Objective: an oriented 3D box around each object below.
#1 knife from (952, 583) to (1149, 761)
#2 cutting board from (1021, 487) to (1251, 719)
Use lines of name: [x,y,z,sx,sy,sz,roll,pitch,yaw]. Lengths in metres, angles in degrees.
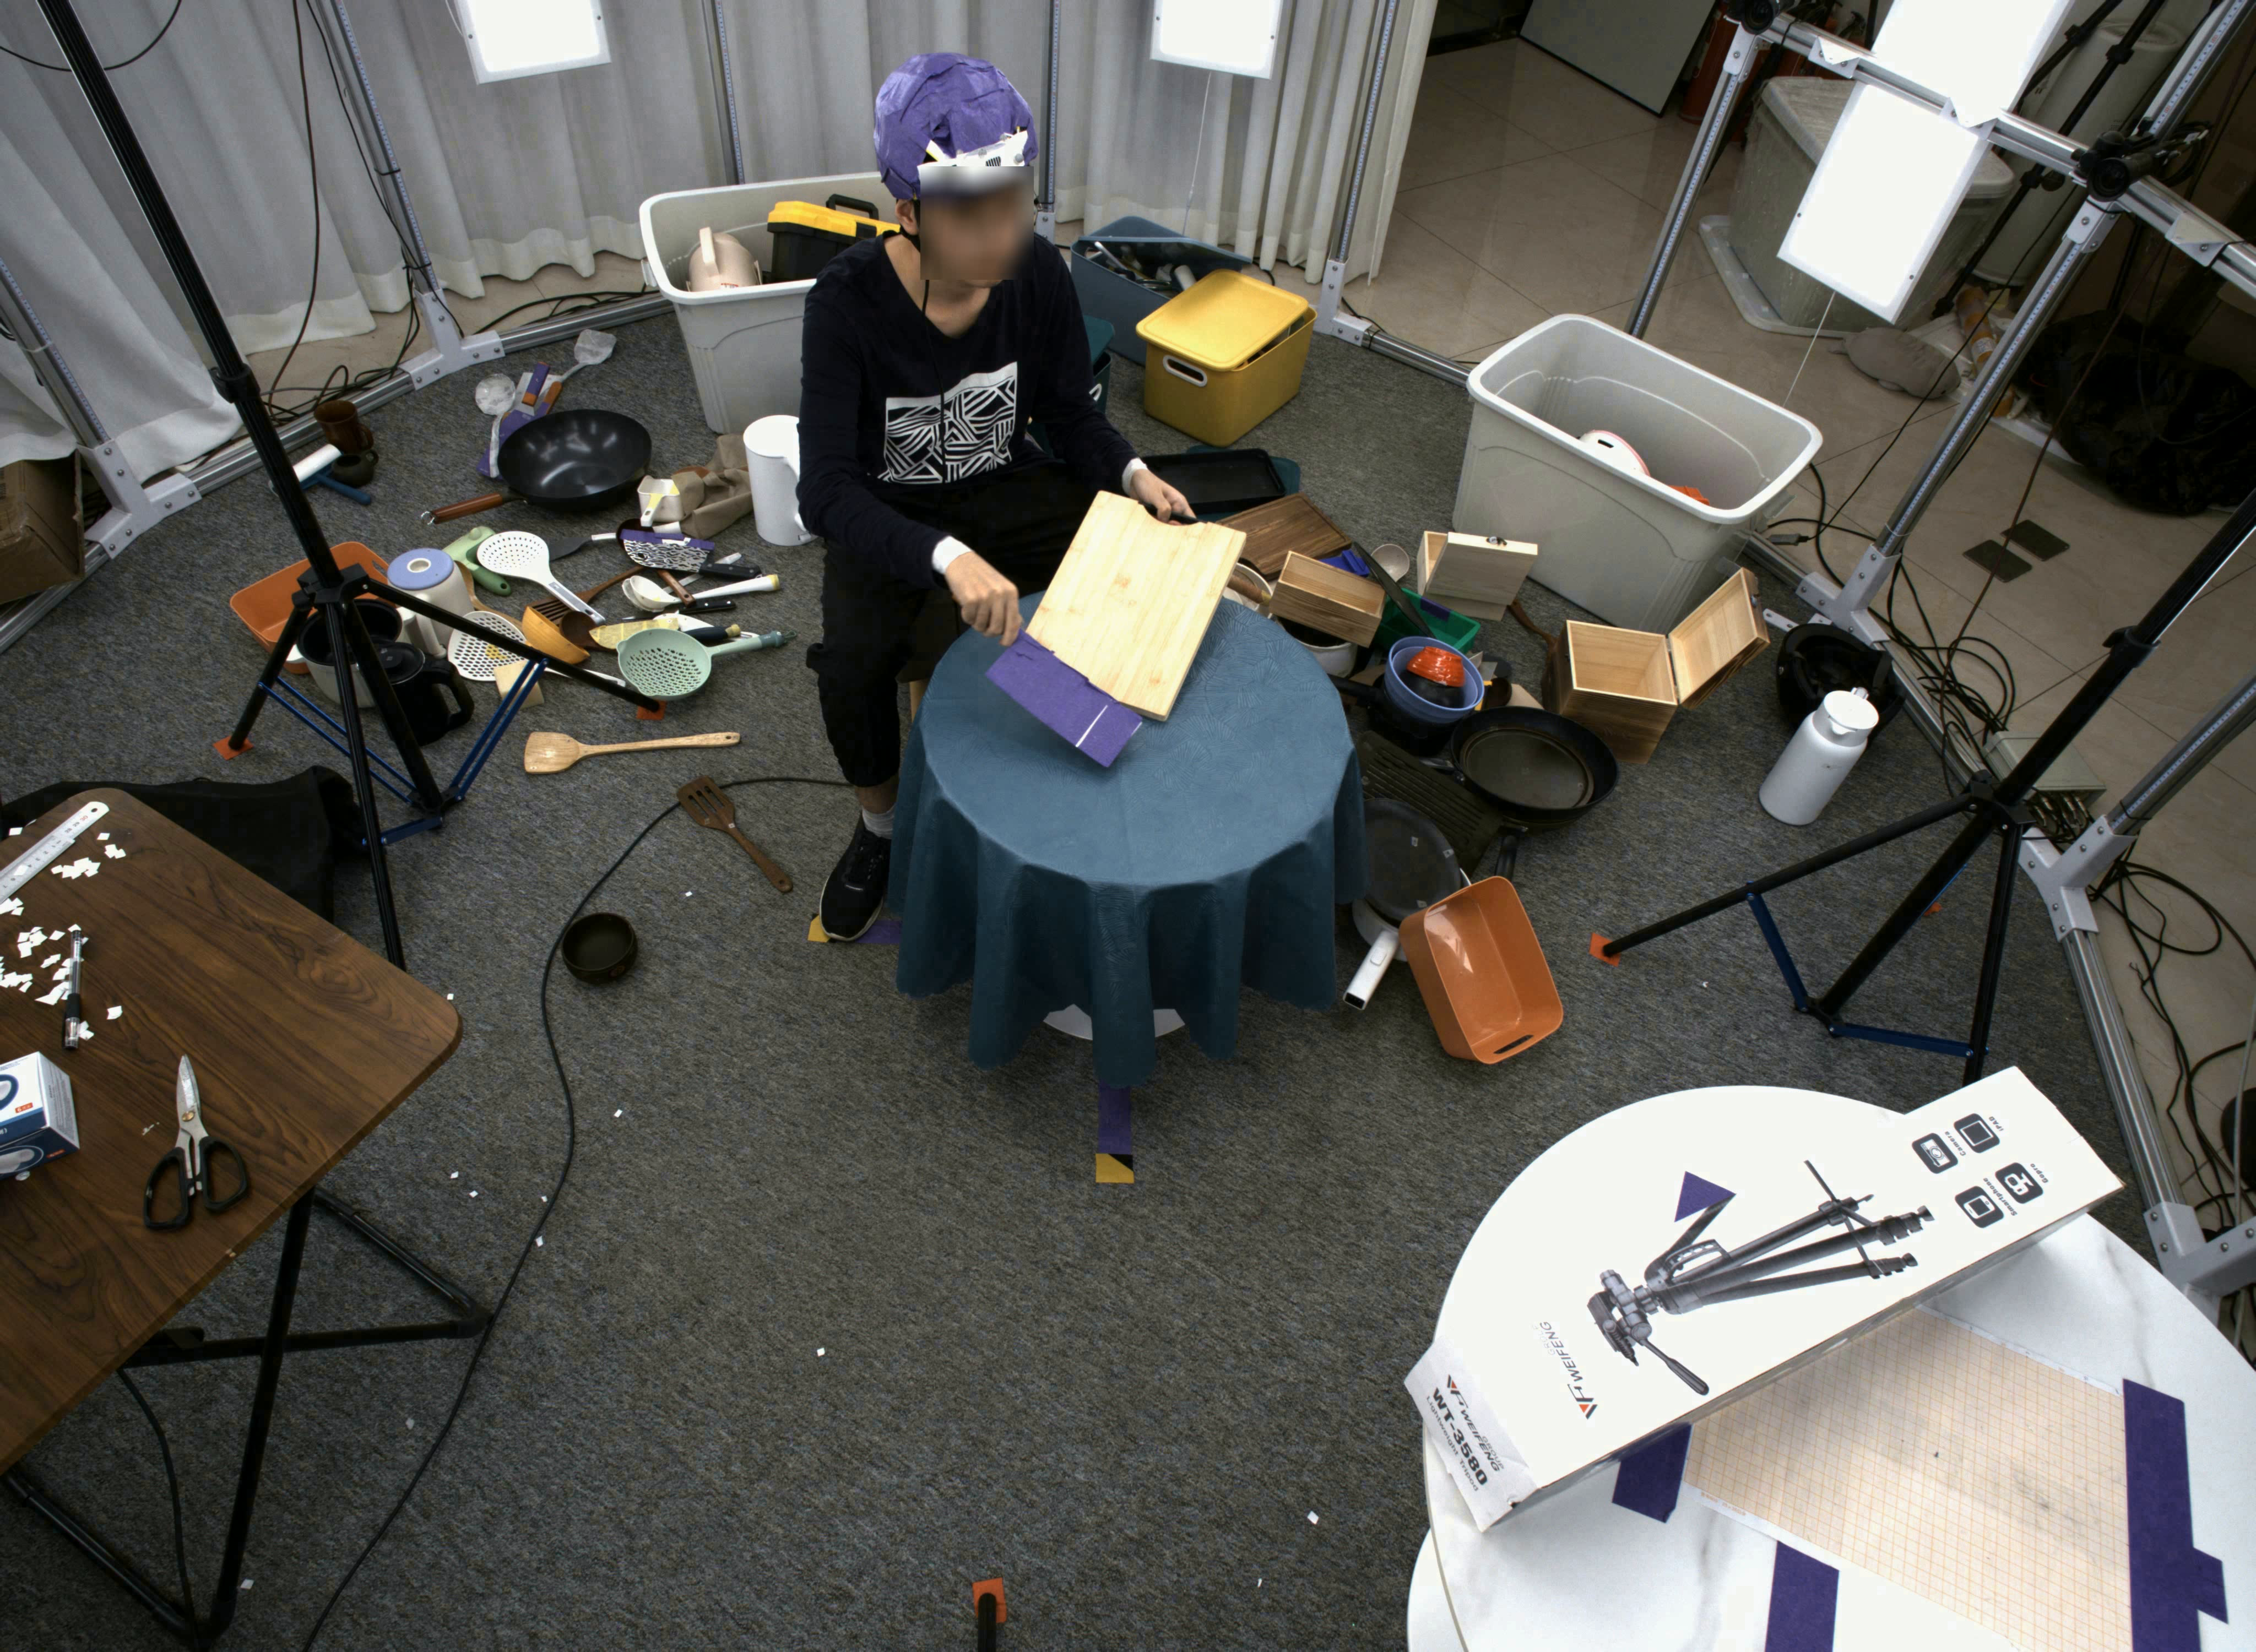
knife: [-0.122,-0.207,1.734,0.316,0.031,0.105,36,63,4]
cutting board: [0.007,-0.335,1.890,0.252,0.023,0.354,18,65,12]
